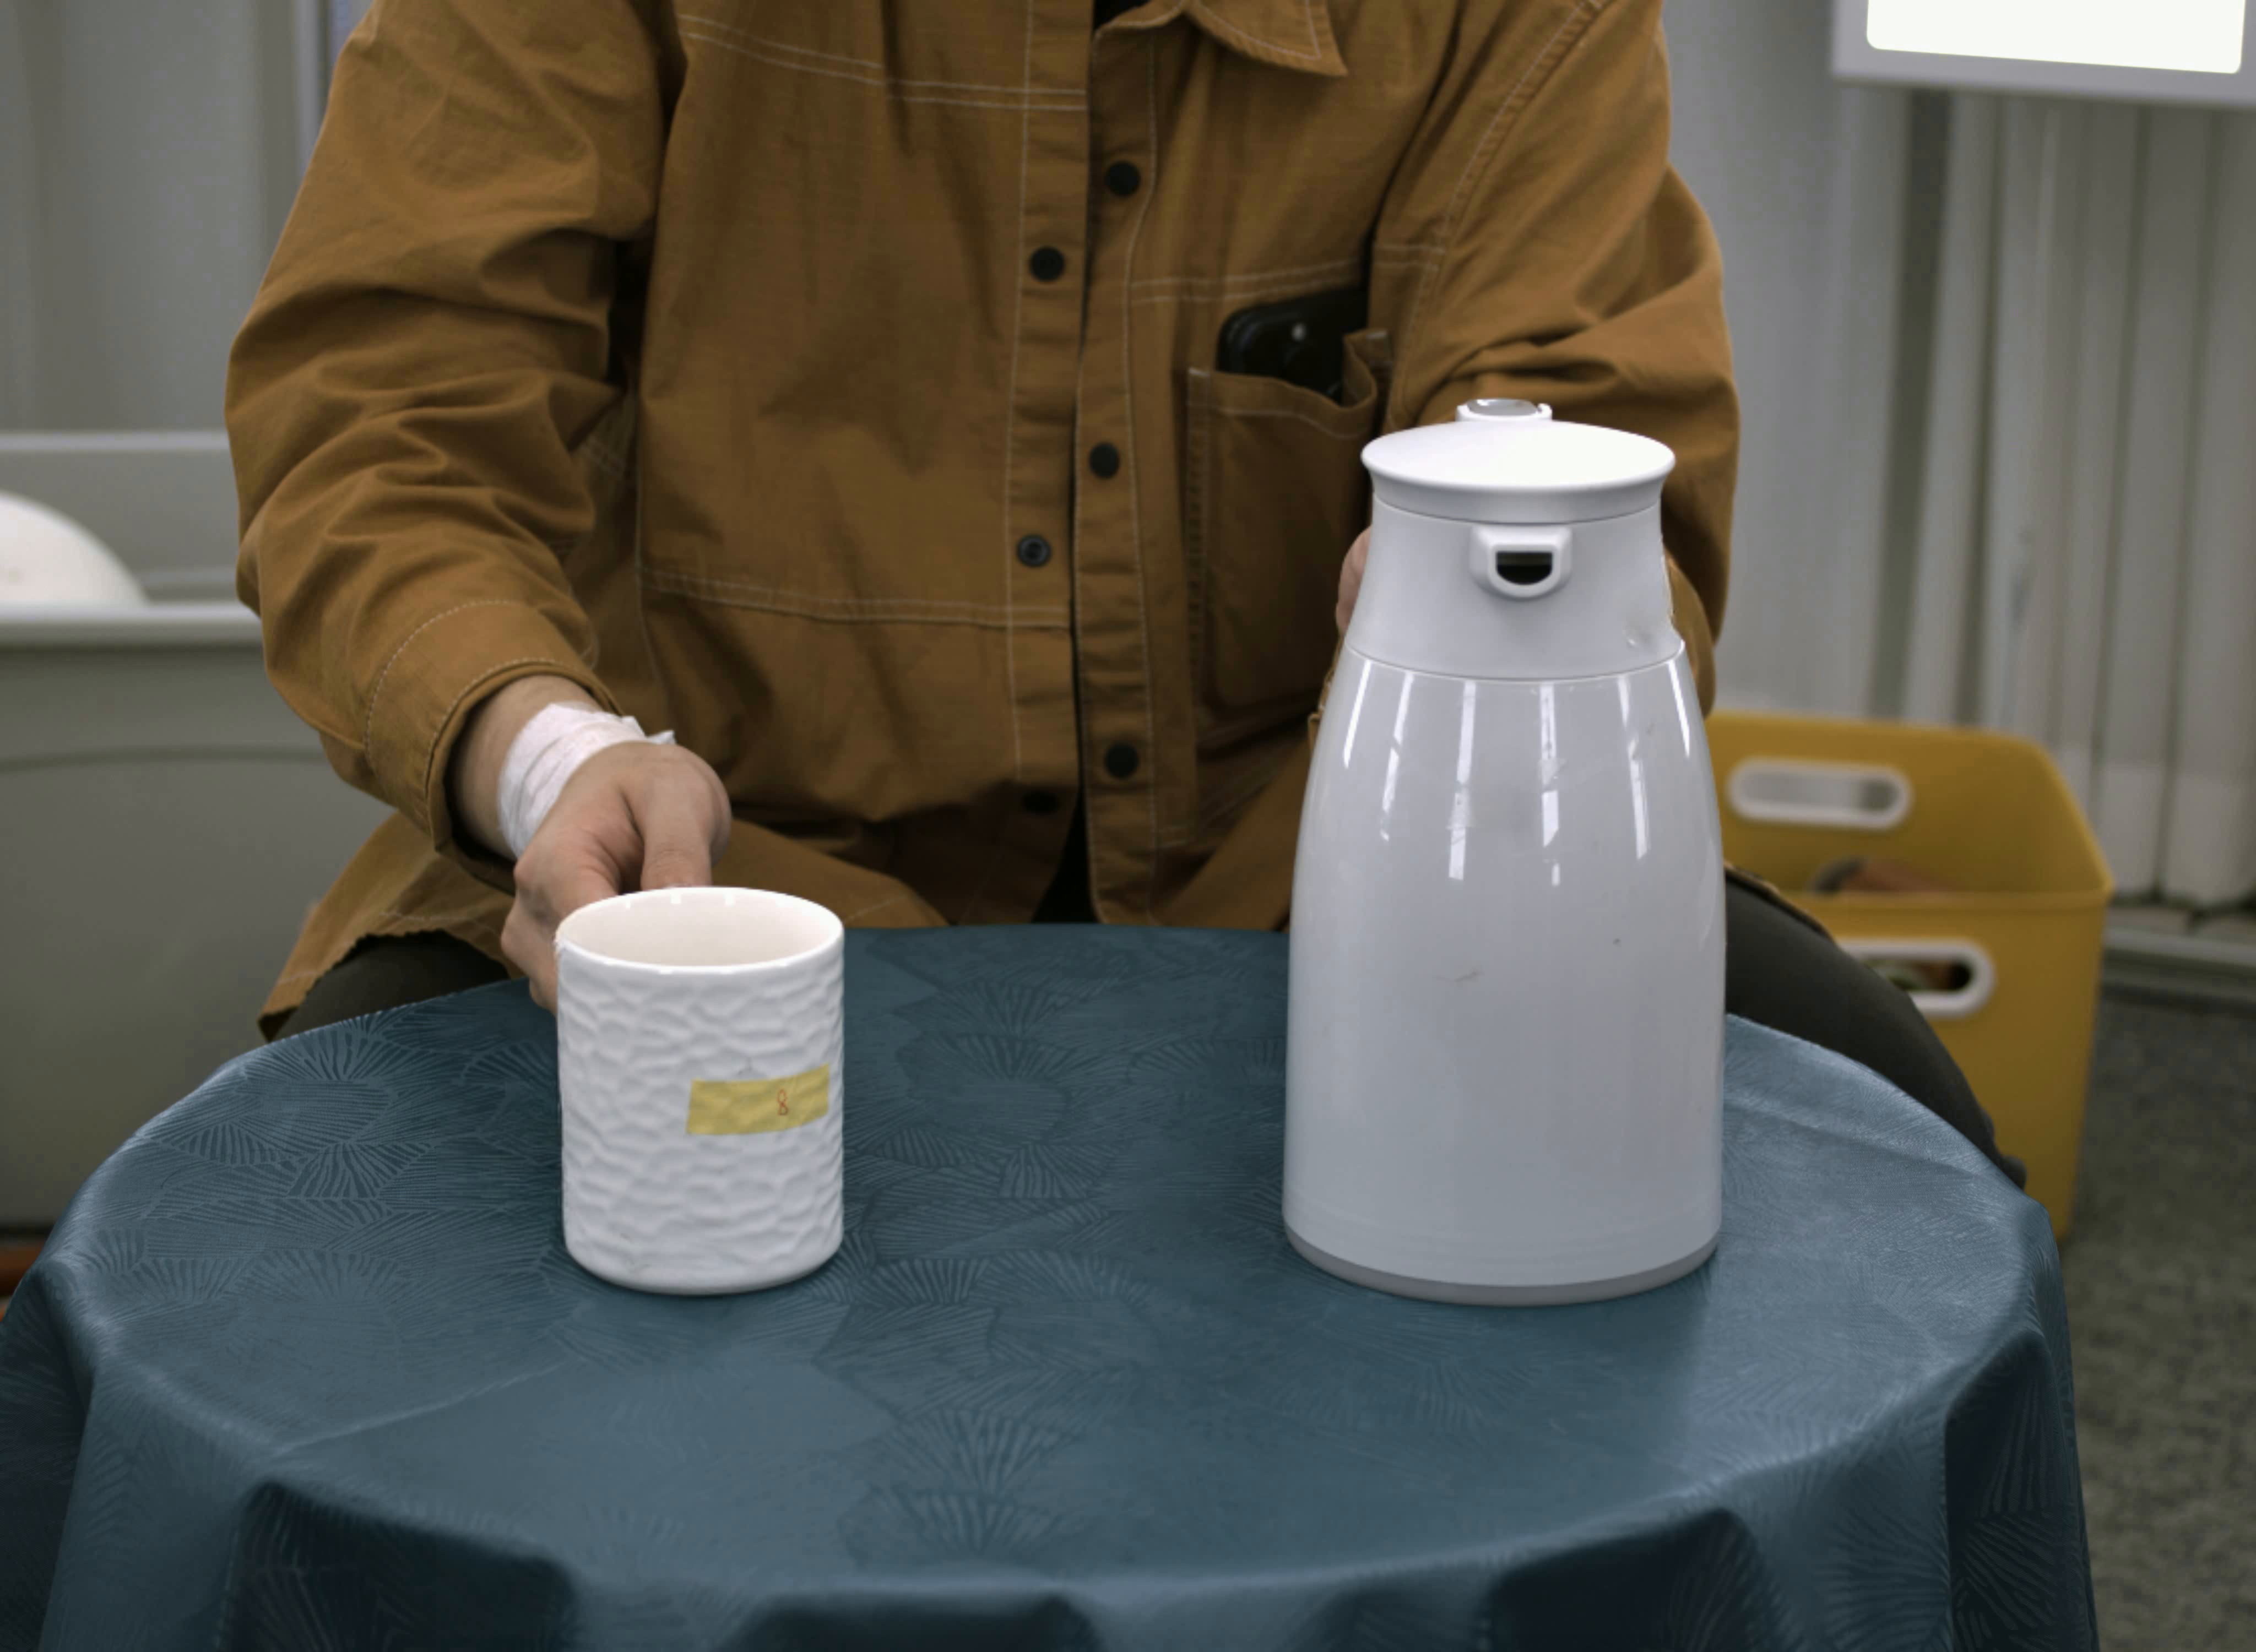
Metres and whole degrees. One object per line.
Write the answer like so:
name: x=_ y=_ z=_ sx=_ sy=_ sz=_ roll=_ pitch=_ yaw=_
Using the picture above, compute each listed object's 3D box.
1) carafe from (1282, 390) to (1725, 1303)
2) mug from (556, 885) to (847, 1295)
carafe: x=0.111 y=-0.002 z=1.573 sx=0.132 sy=0.250 sz=0.167 roll=-1 pitch=16 yaw=0
mug: x=-0.129 y=0.074 z=1.567 sx=0.085 sy=0.103 sz=0.117 roll=-2 pitch=16 yaw=-12
